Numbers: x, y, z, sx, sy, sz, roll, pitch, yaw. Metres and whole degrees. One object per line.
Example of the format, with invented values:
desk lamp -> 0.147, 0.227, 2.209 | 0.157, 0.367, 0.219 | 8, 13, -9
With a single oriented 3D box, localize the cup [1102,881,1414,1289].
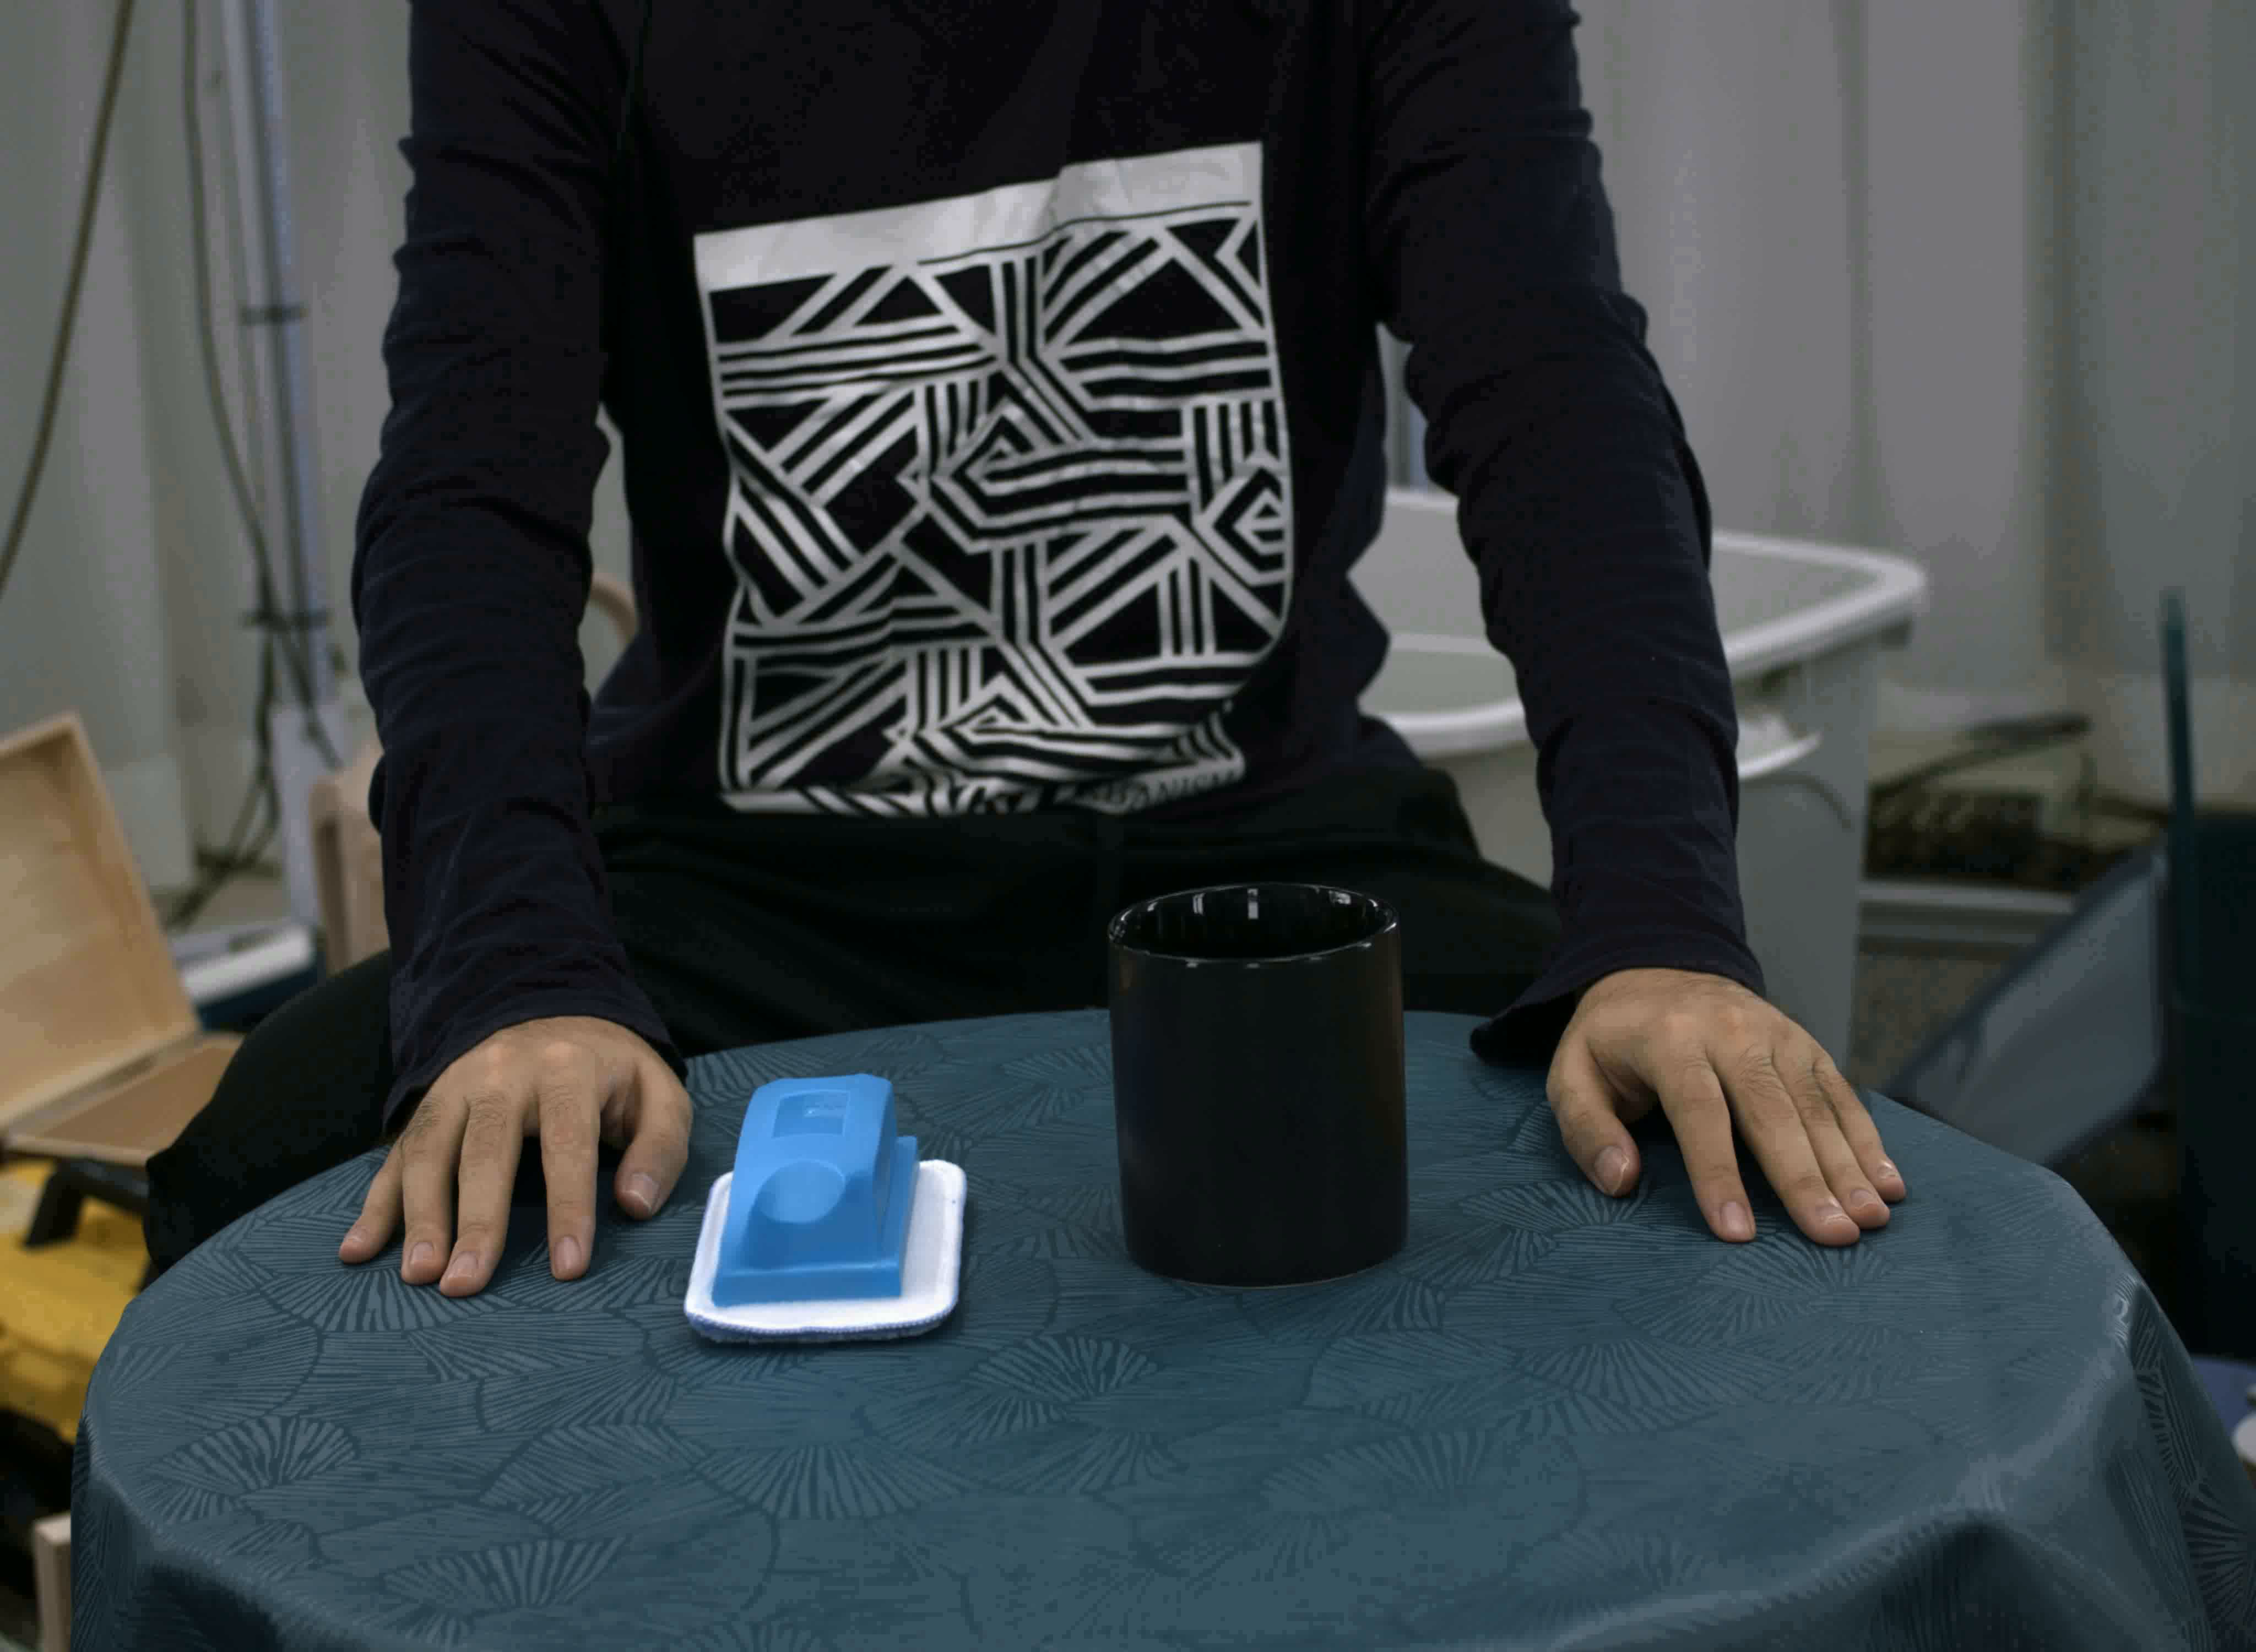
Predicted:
cup -> 0.038, 0.074, 1.667 | 0.088, 0.105, 0.124 | -5, 12, -3

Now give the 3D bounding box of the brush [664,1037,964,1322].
brush -> -0.094, 0.104, 1.657 | 0.083, 0.055, 0.145 | 1, 18, 2
